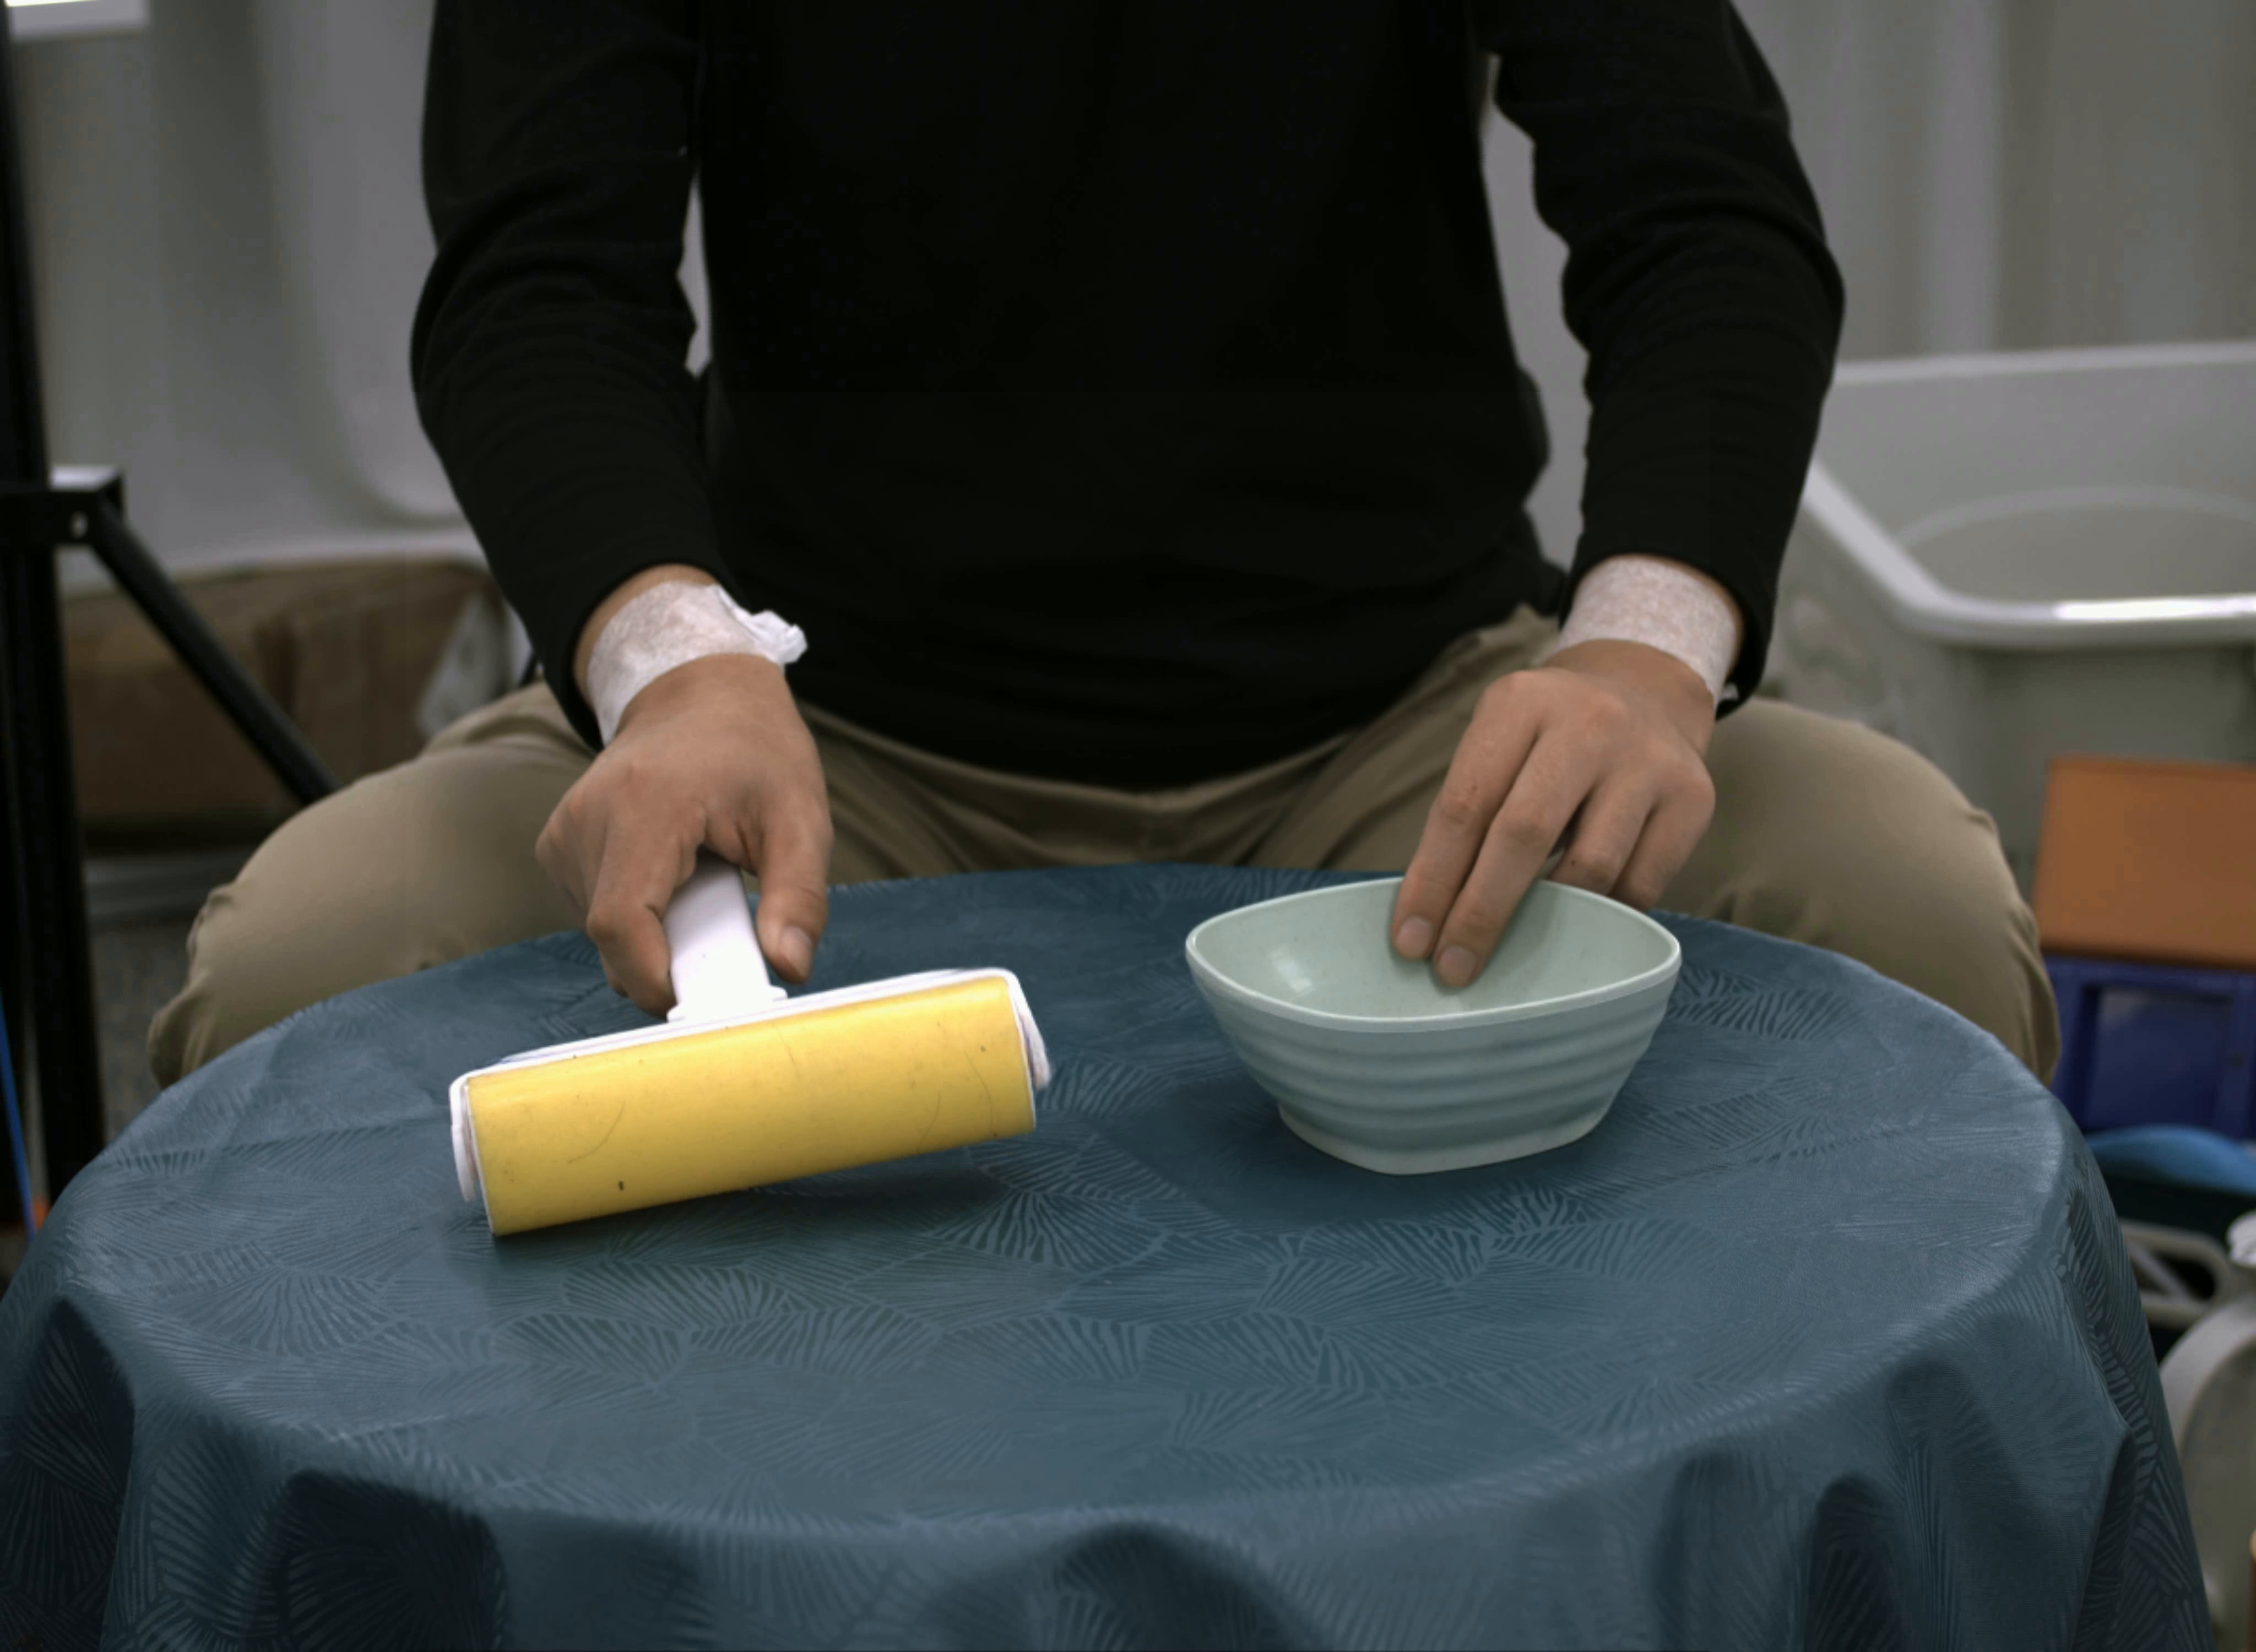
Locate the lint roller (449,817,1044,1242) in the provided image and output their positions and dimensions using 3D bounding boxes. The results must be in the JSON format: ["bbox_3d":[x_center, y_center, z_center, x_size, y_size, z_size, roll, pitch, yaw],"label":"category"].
[{"bbox_3d":[-0.126,0.042,1.610,0.172,0.051,0.195,-12,39,-6],"label":"lint roller"}]

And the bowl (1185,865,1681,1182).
[{"bbox_3d":[0.092,0.063,1.597,0.150,0.058,0.152,-3,18,-1],"label":"bowl"}]
